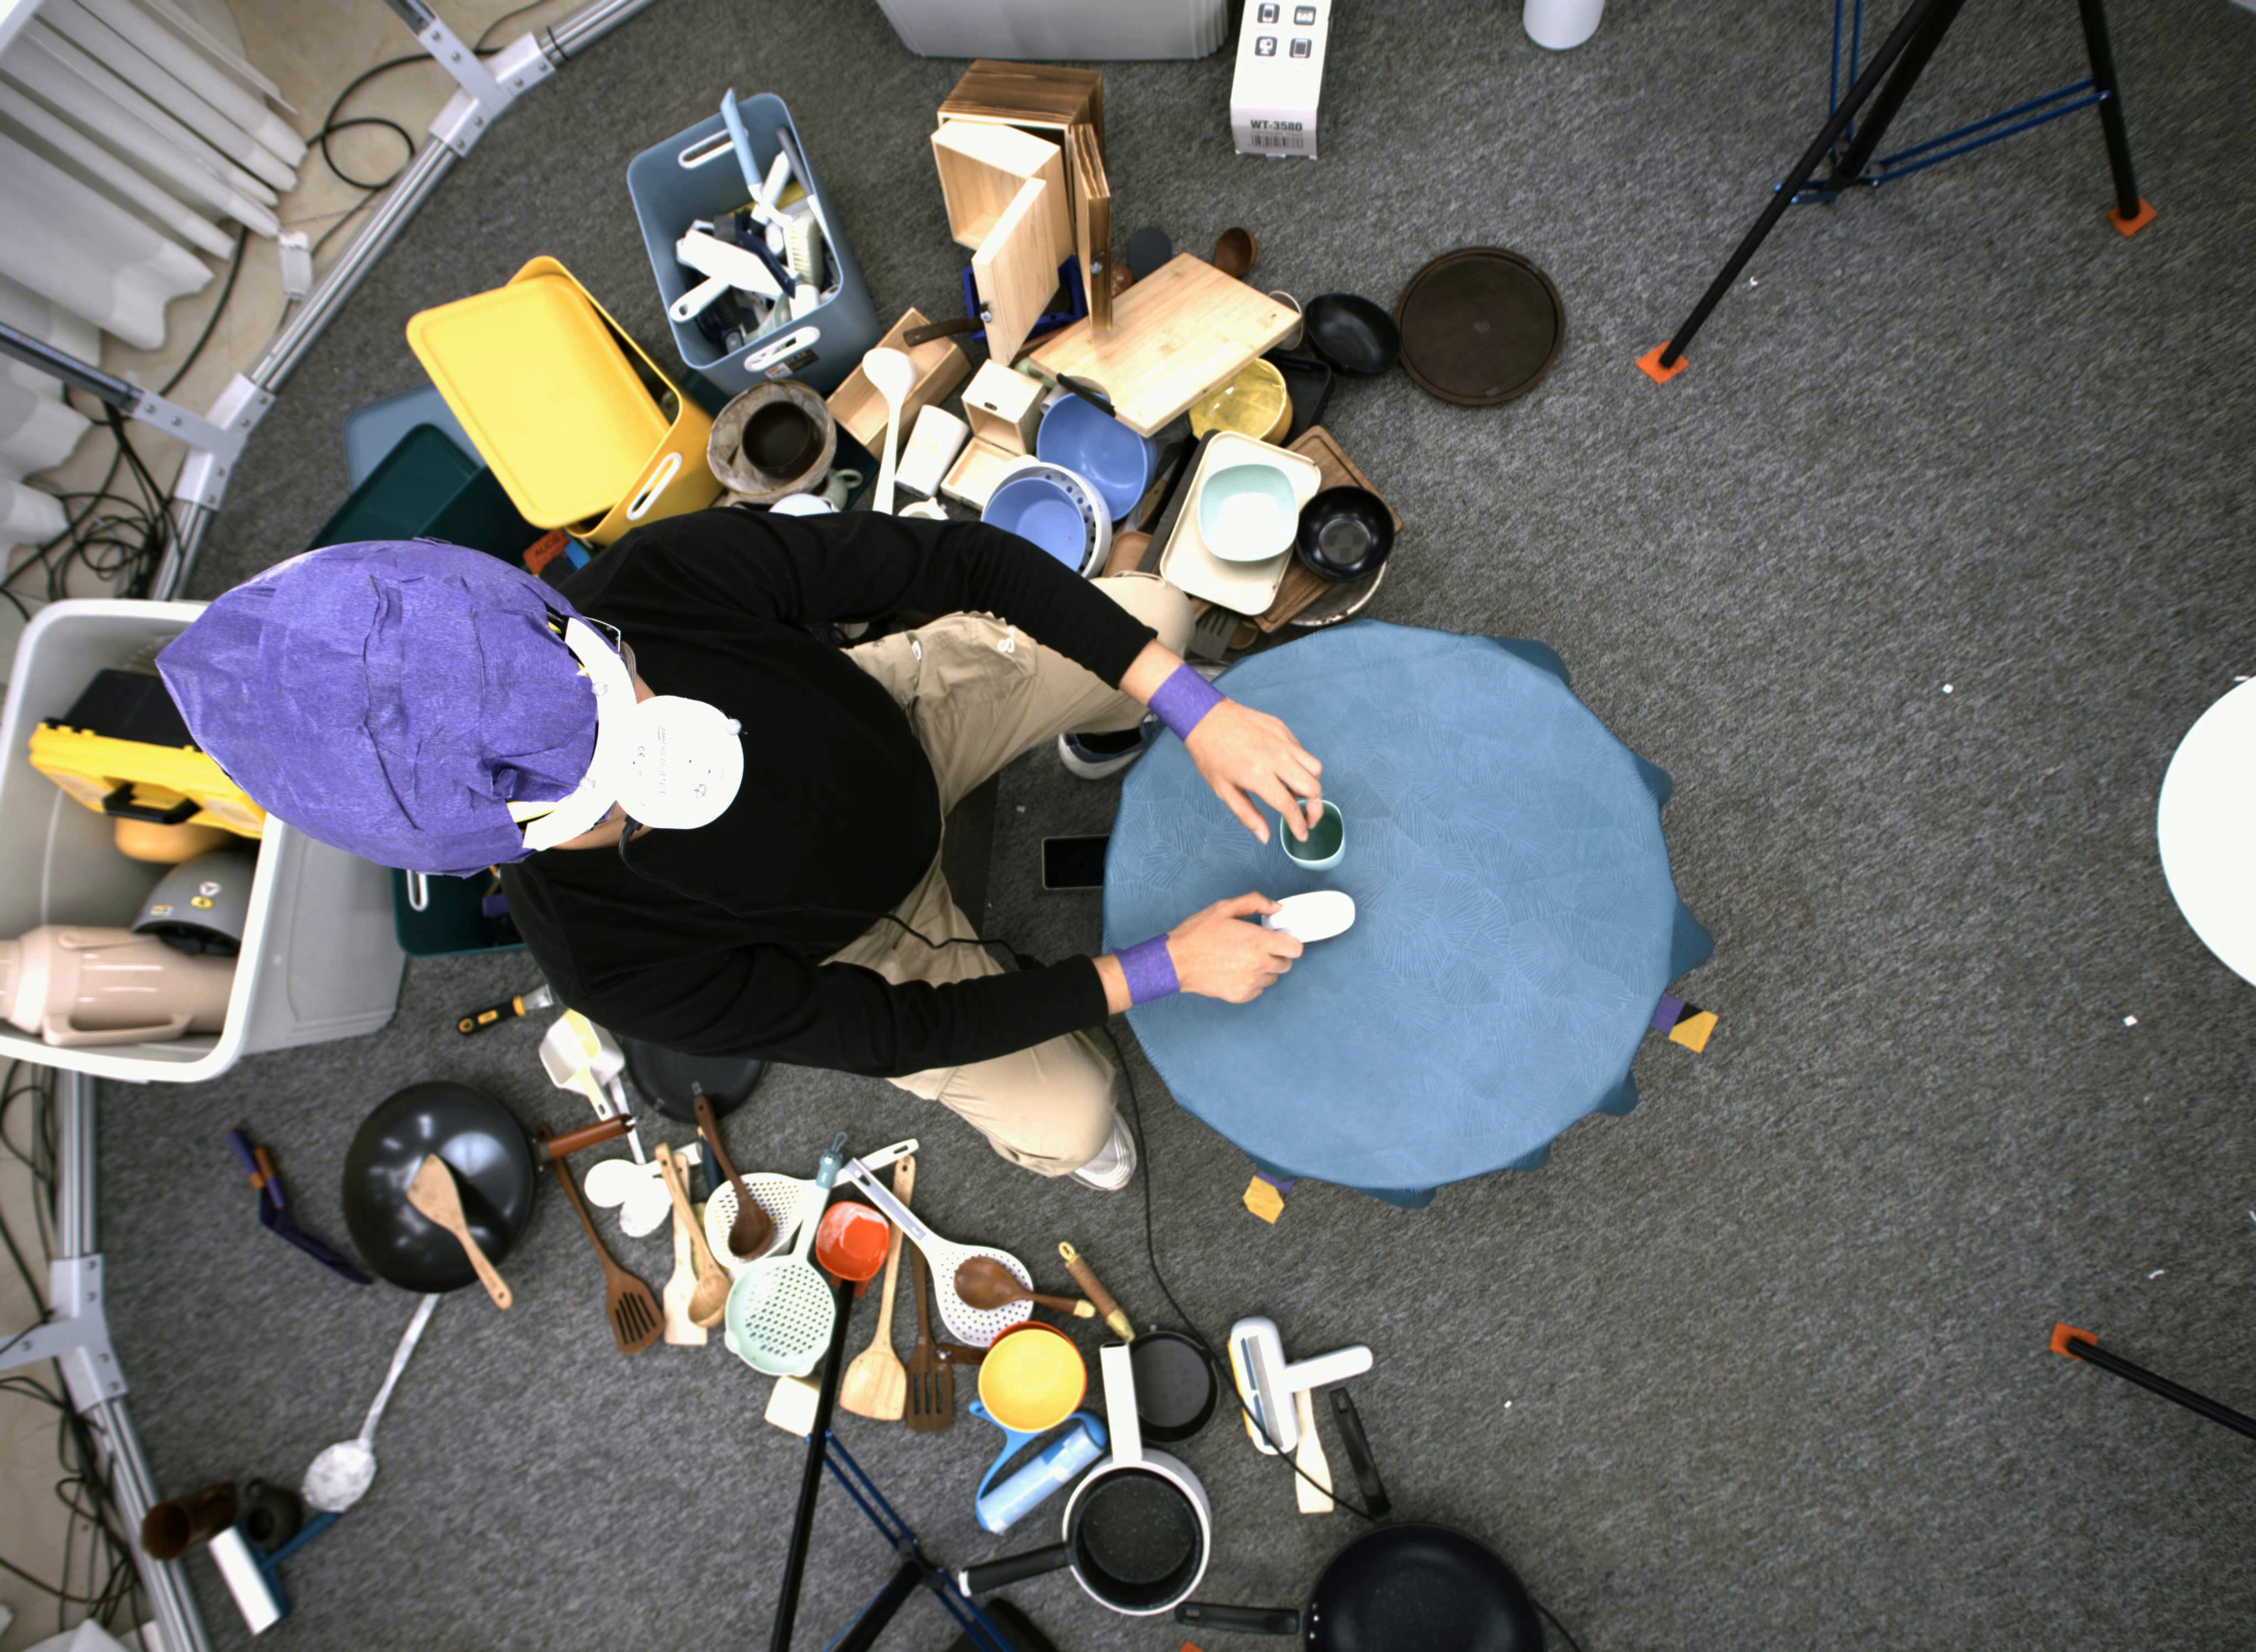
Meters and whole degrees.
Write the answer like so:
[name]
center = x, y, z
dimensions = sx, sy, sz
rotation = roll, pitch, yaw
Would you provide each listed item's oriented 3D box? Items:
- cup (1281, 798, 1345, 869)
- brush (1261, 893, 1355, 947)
[cup]
center = 0.191, 0.010, 1.415
dimensions = 0.067, 0.132, 0.066
rotation = -1, 85, 9
[brush]
center = 0.186, 0.095, 1.434
dimensions = 0.099, 0.073, 0.050
rotation = -10, 82, 7
